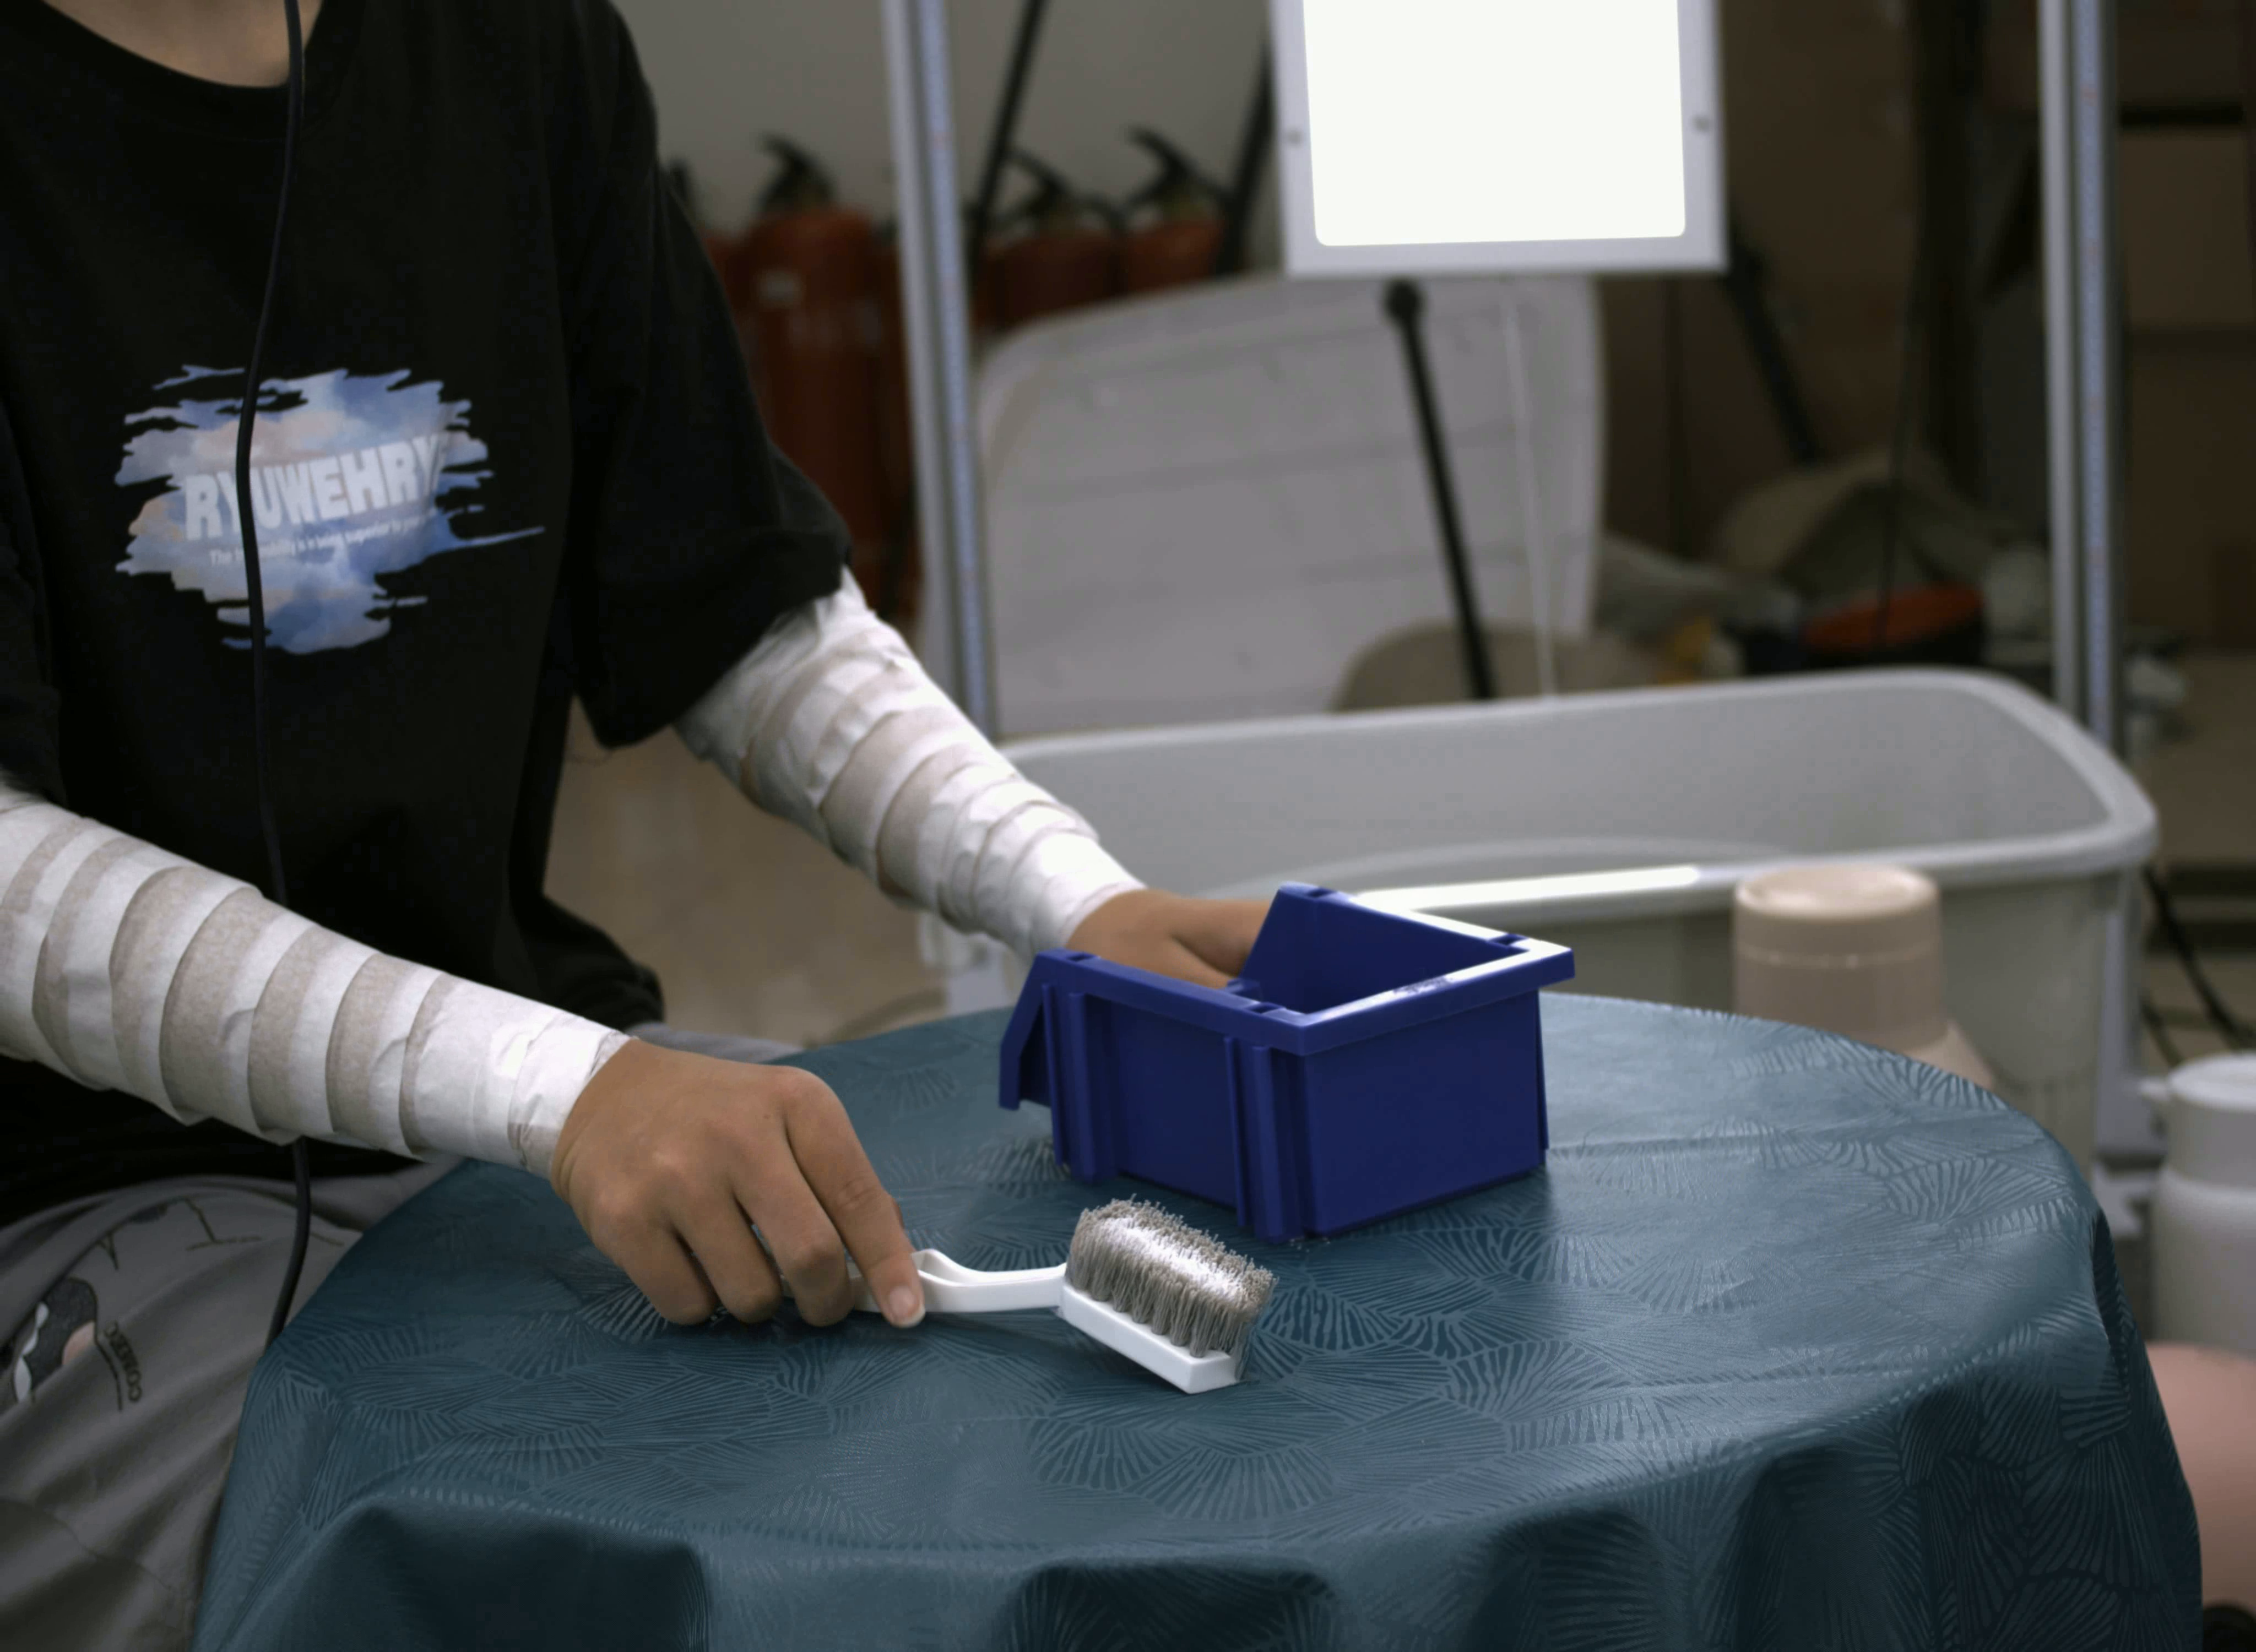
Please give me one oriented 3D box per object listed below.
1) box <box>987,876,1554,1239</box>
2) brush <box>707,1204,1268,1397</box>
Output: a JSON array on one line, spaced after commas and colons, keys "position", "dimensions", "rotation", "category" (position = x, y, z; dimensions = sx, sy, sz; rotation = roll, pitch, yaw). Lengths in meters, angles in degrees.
[{"position": [0.046, 0.077, 1.912], "dimensions": [0.121, 0.082, 0.183], "rotation": [-14, 18, -32], "category": "box"}, {"position": [-0.051, 0.136, 1.771], "dimensions": [0.033, 0.050, 0.249], "rotation": [-19, 20, -42], "category": "brush"}]
